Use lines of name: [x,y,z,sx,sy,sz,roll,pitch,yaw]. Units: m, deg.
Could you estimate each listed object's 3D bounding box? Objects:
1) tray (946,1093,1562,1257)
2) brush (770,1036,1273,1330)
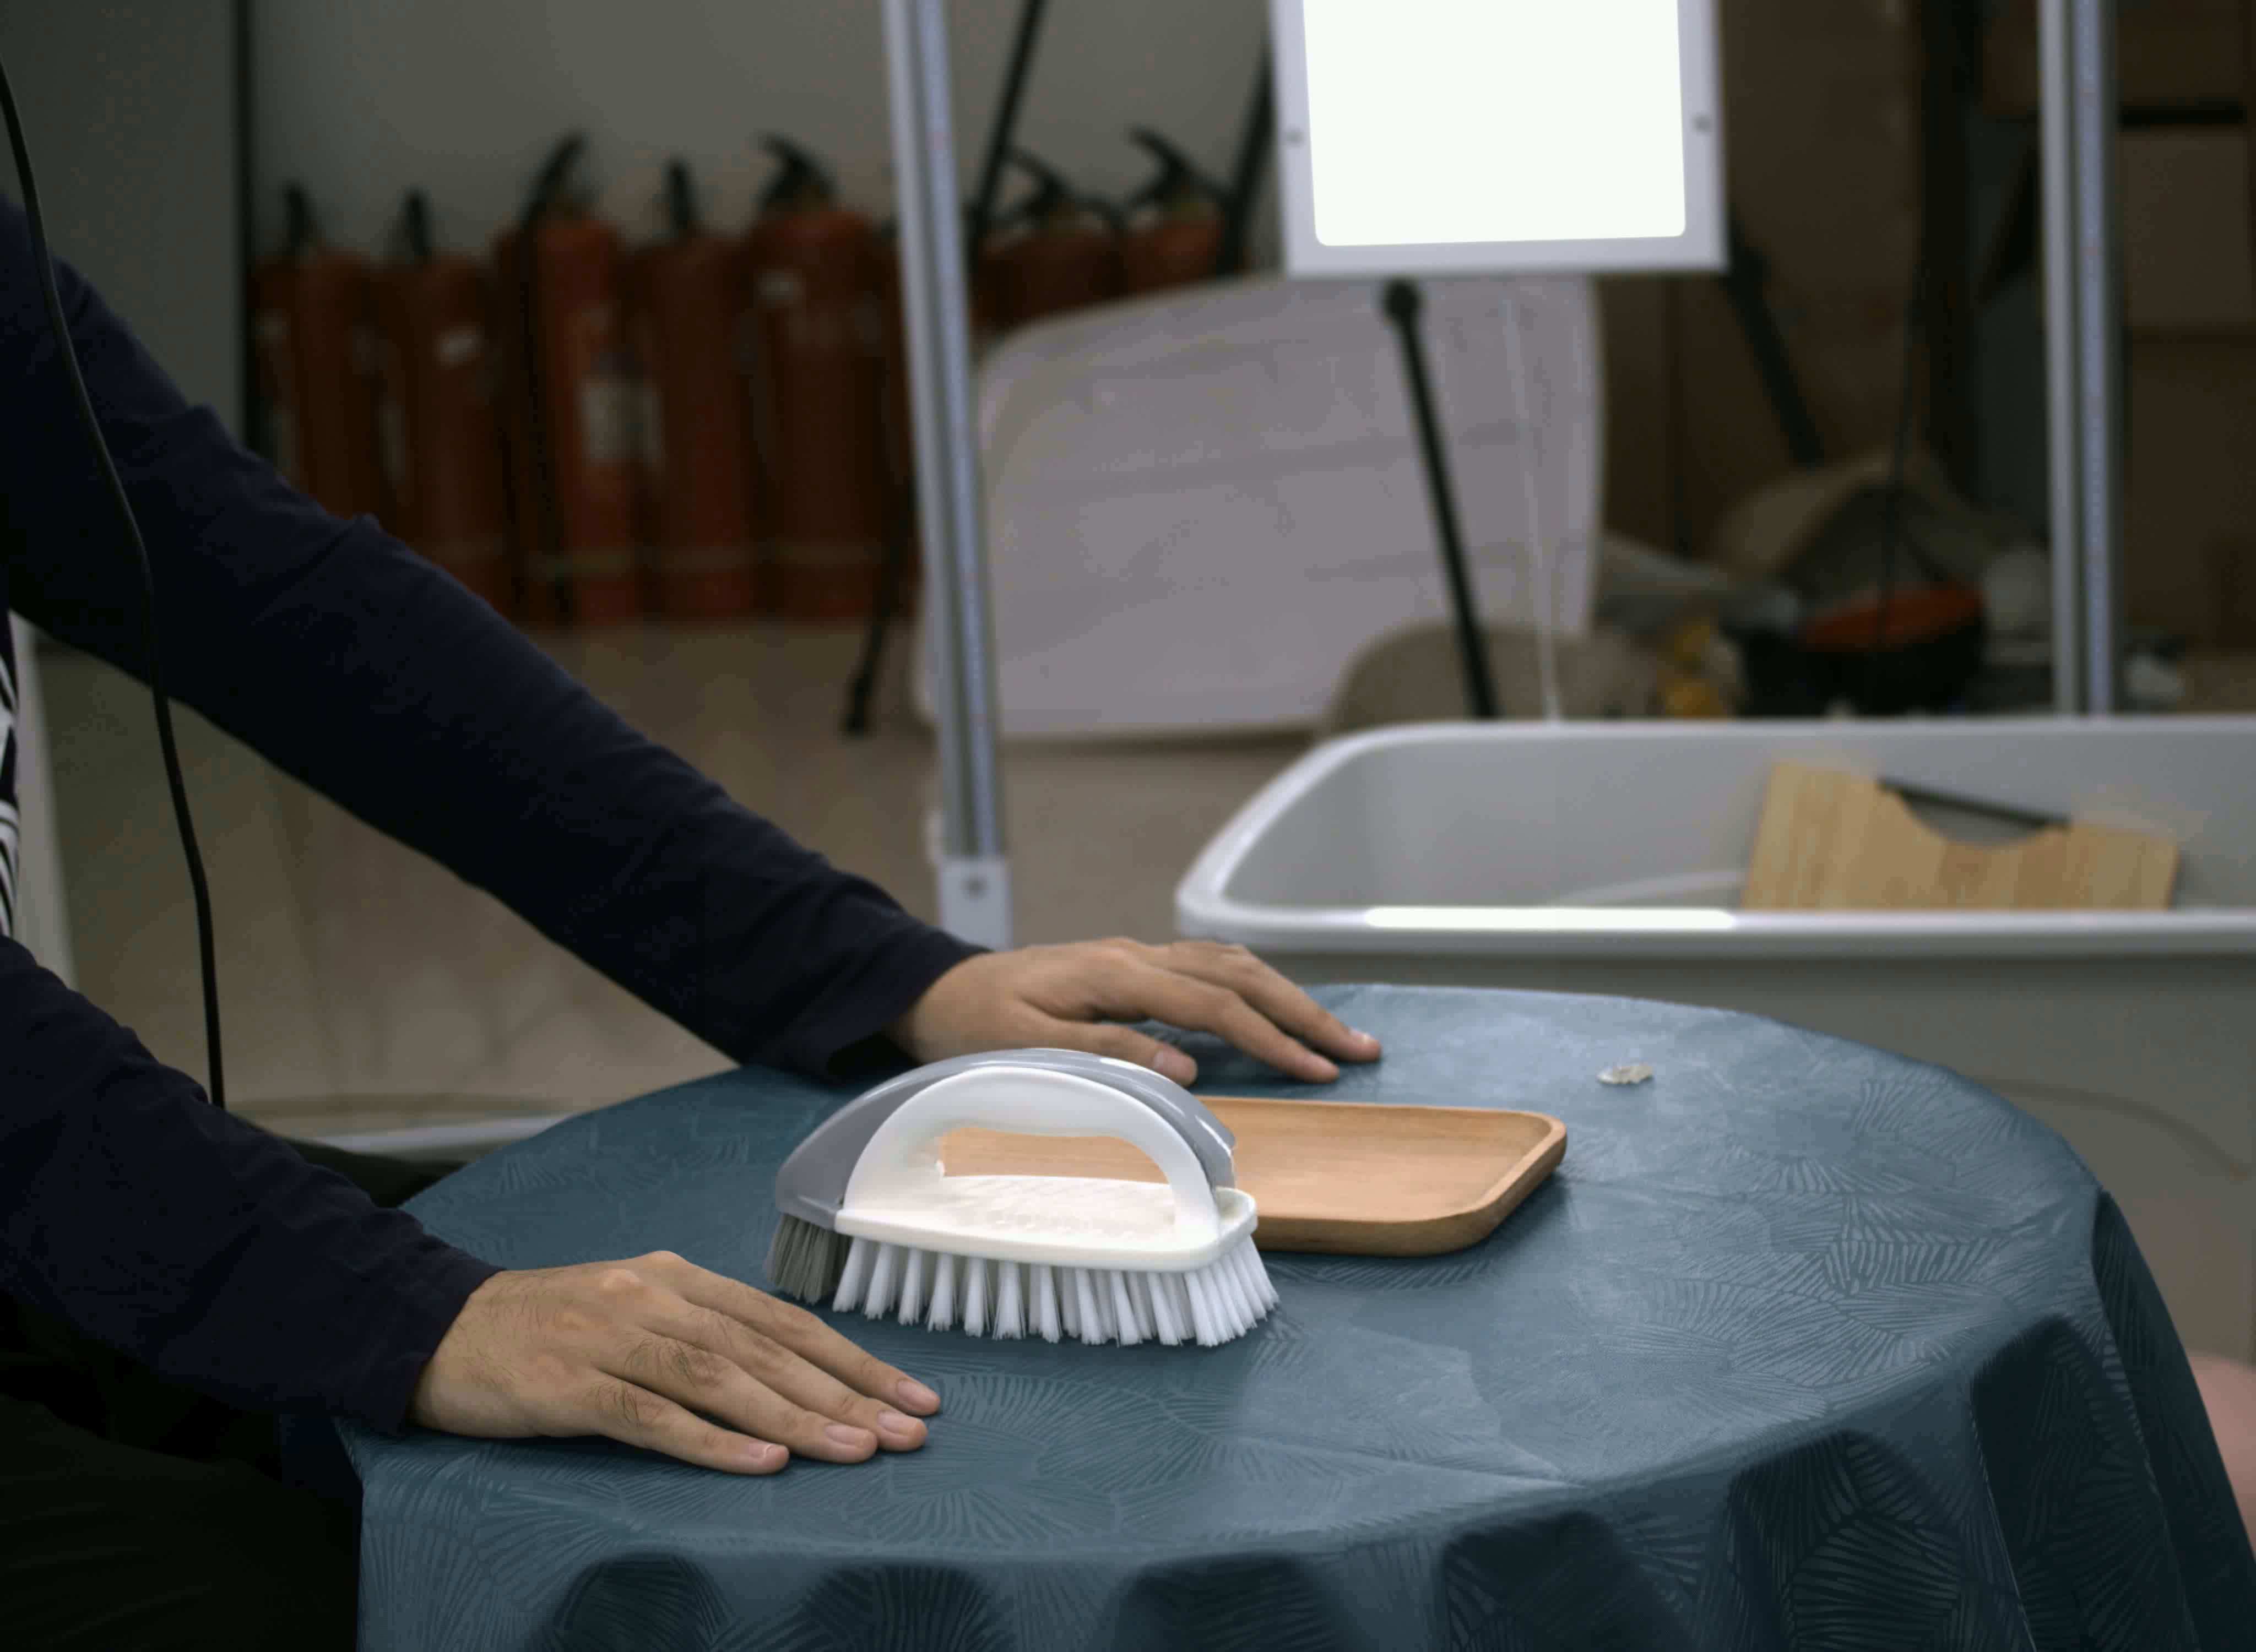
tray: [0.019,0.118,1.894,0.255,0.023,0.128,1,12,26]
brush: [-0.042,0.114,1.772,0.178,0.094,0.060,0,13,28]
